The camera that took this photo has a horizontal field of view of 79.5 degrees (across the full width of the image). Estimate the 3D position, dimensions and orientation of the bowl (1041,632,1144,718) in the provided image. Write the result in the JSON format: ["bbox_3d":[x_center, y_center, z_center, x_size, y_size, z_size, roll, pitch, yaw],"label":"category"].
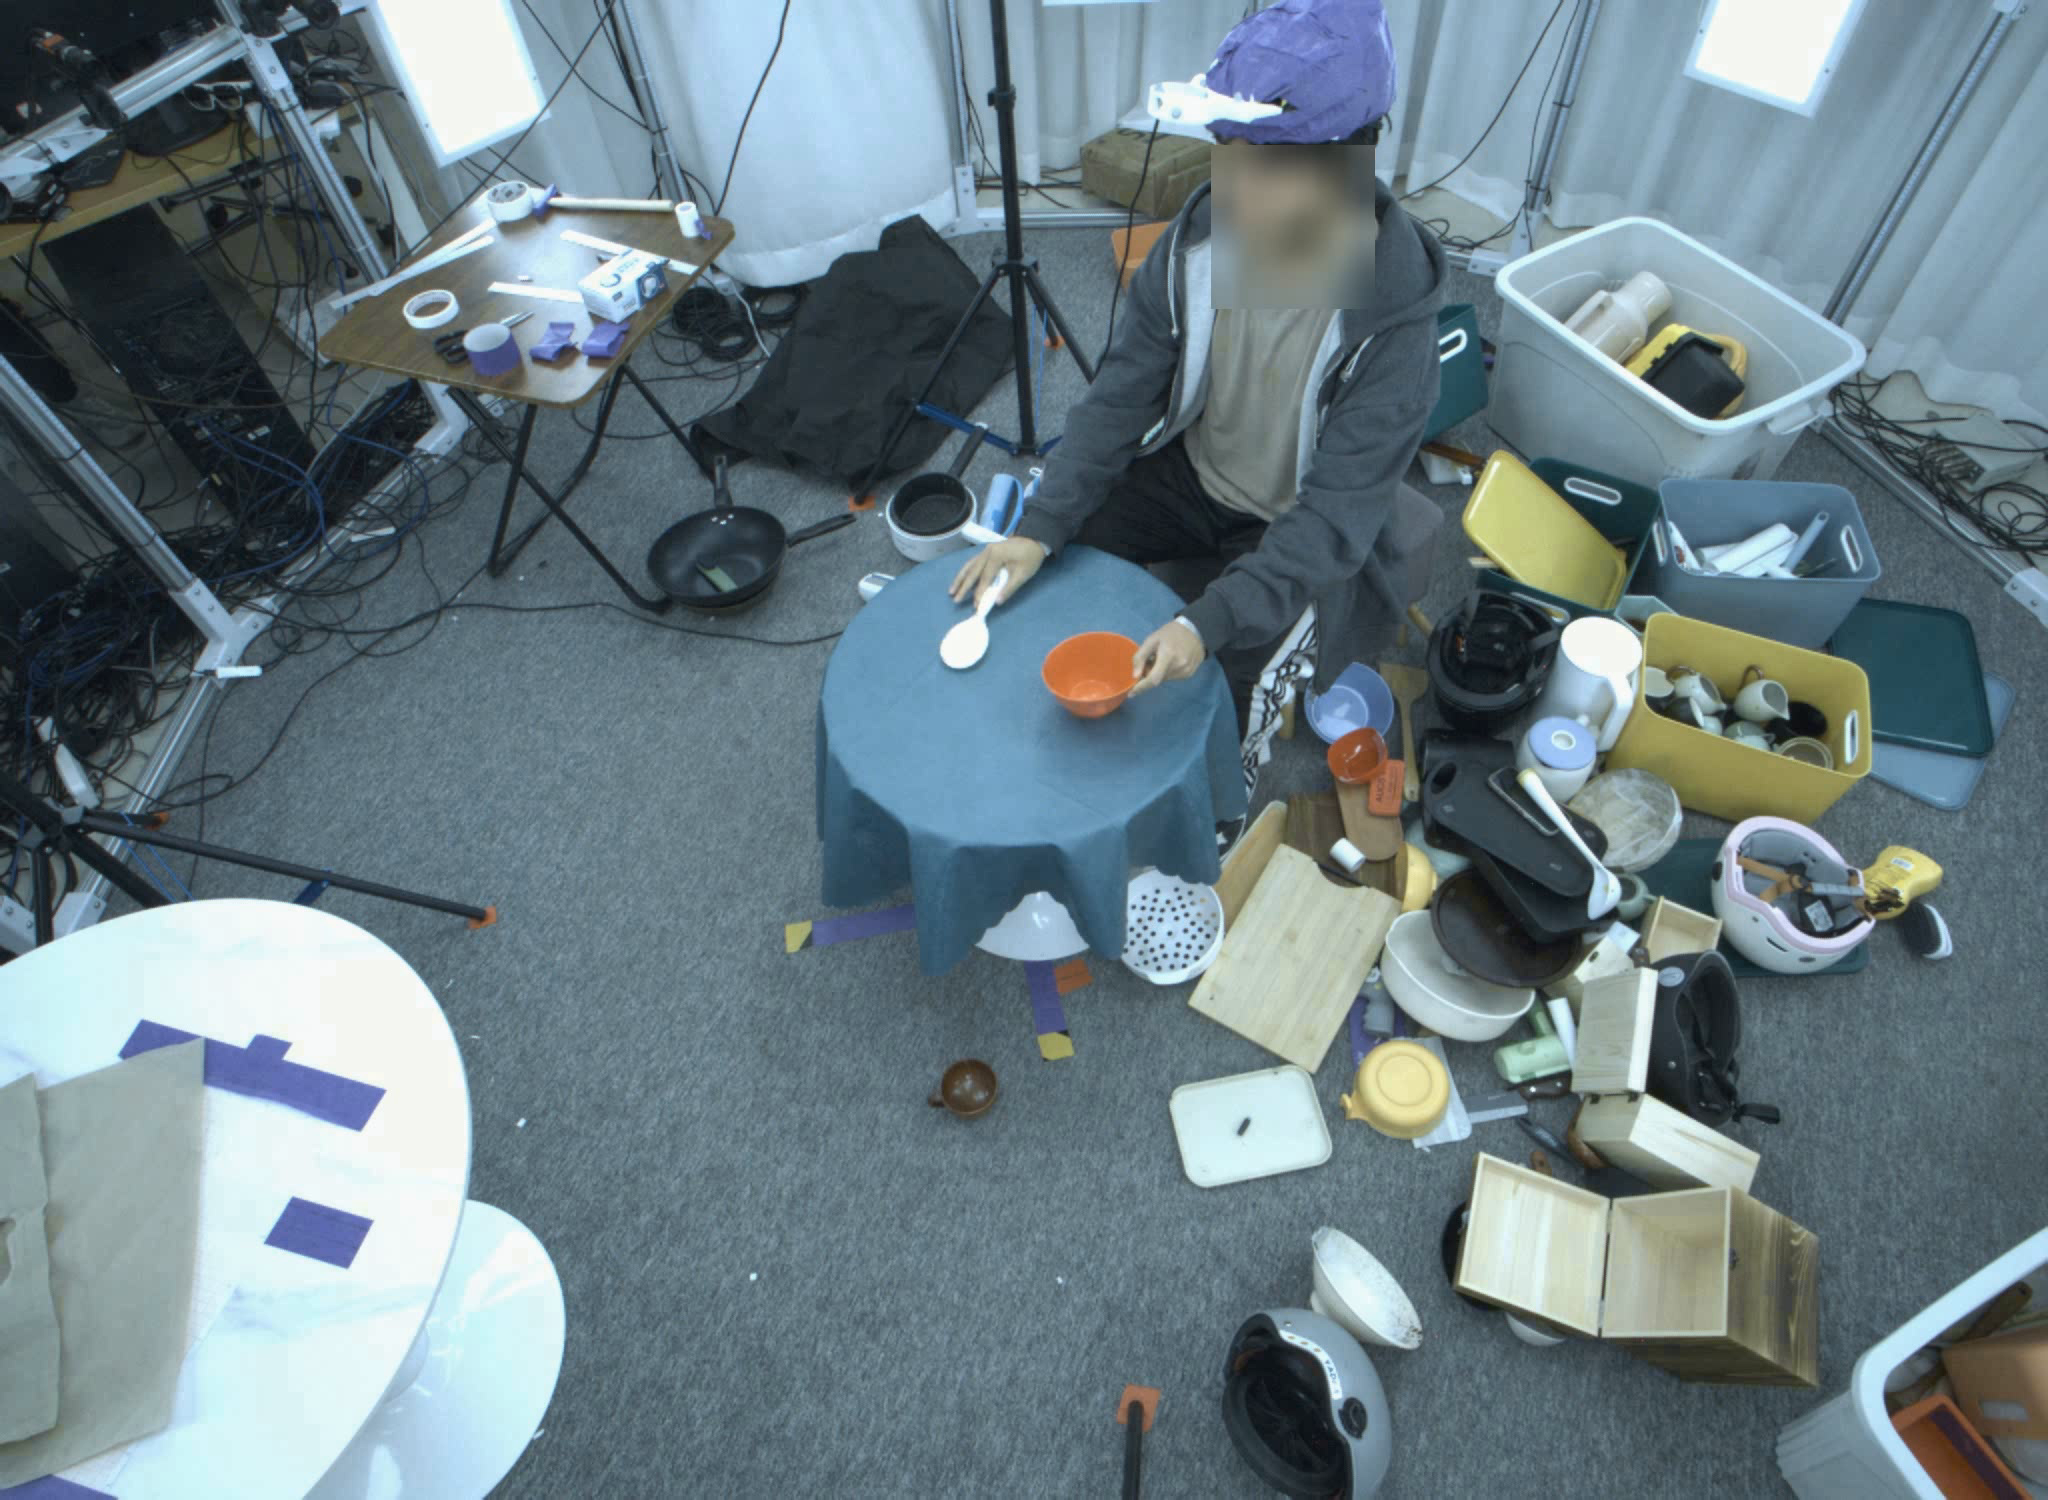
[{"bbox_3d":[0.101,-0.095,1.792,0.148,0.106,0.146,-2,54,4],"label":"bowl"}]

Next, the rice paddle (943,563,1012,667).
[{"bbox_3d":[-0.069,-0.211,1.919,0.068,0.030,0.205,16,59,13],"label":"rice paddle"}]
